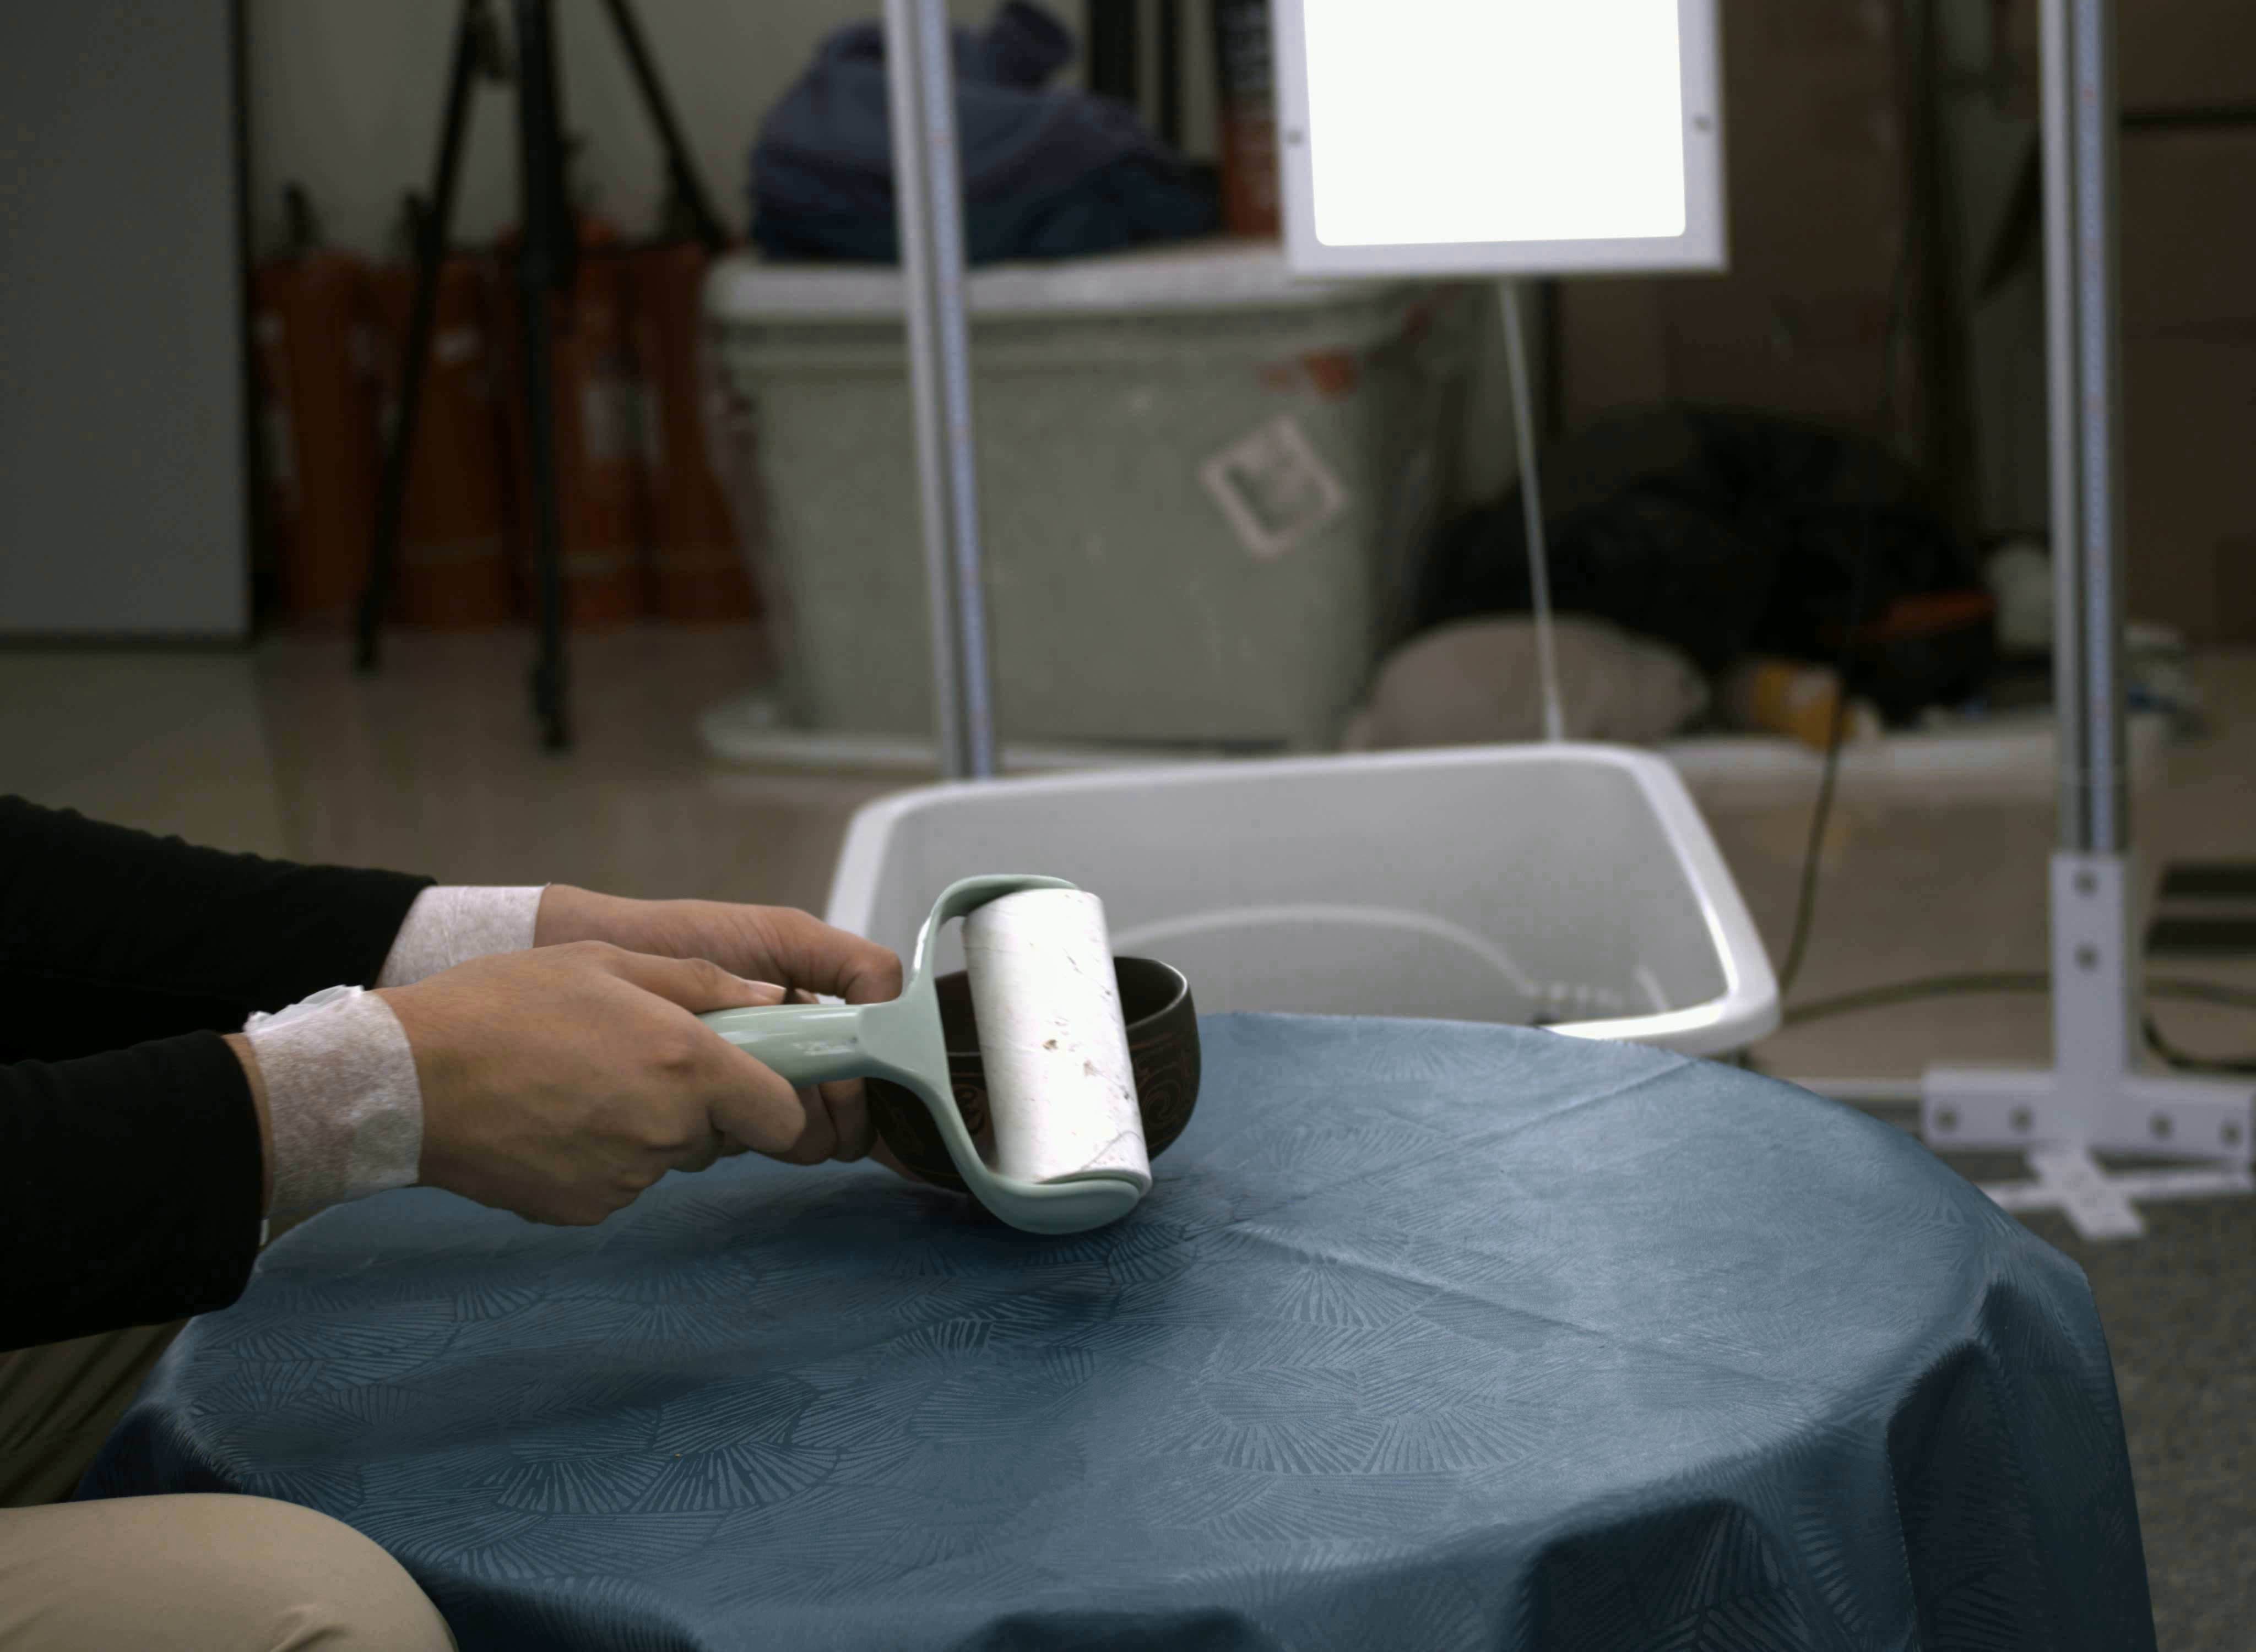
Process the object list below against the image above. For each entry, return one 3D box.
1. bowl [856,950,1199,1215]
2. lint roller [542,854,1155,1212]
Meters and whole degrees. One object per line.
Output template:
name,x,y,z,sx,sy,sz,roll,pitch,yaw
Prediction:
bowl,-0.032,0.092,1.894,0.118,0.070,0.118,-9,15,1
lint roller,-0.091,0.069,1.781,0.194,0.117,0.049,-1,-23,-20
